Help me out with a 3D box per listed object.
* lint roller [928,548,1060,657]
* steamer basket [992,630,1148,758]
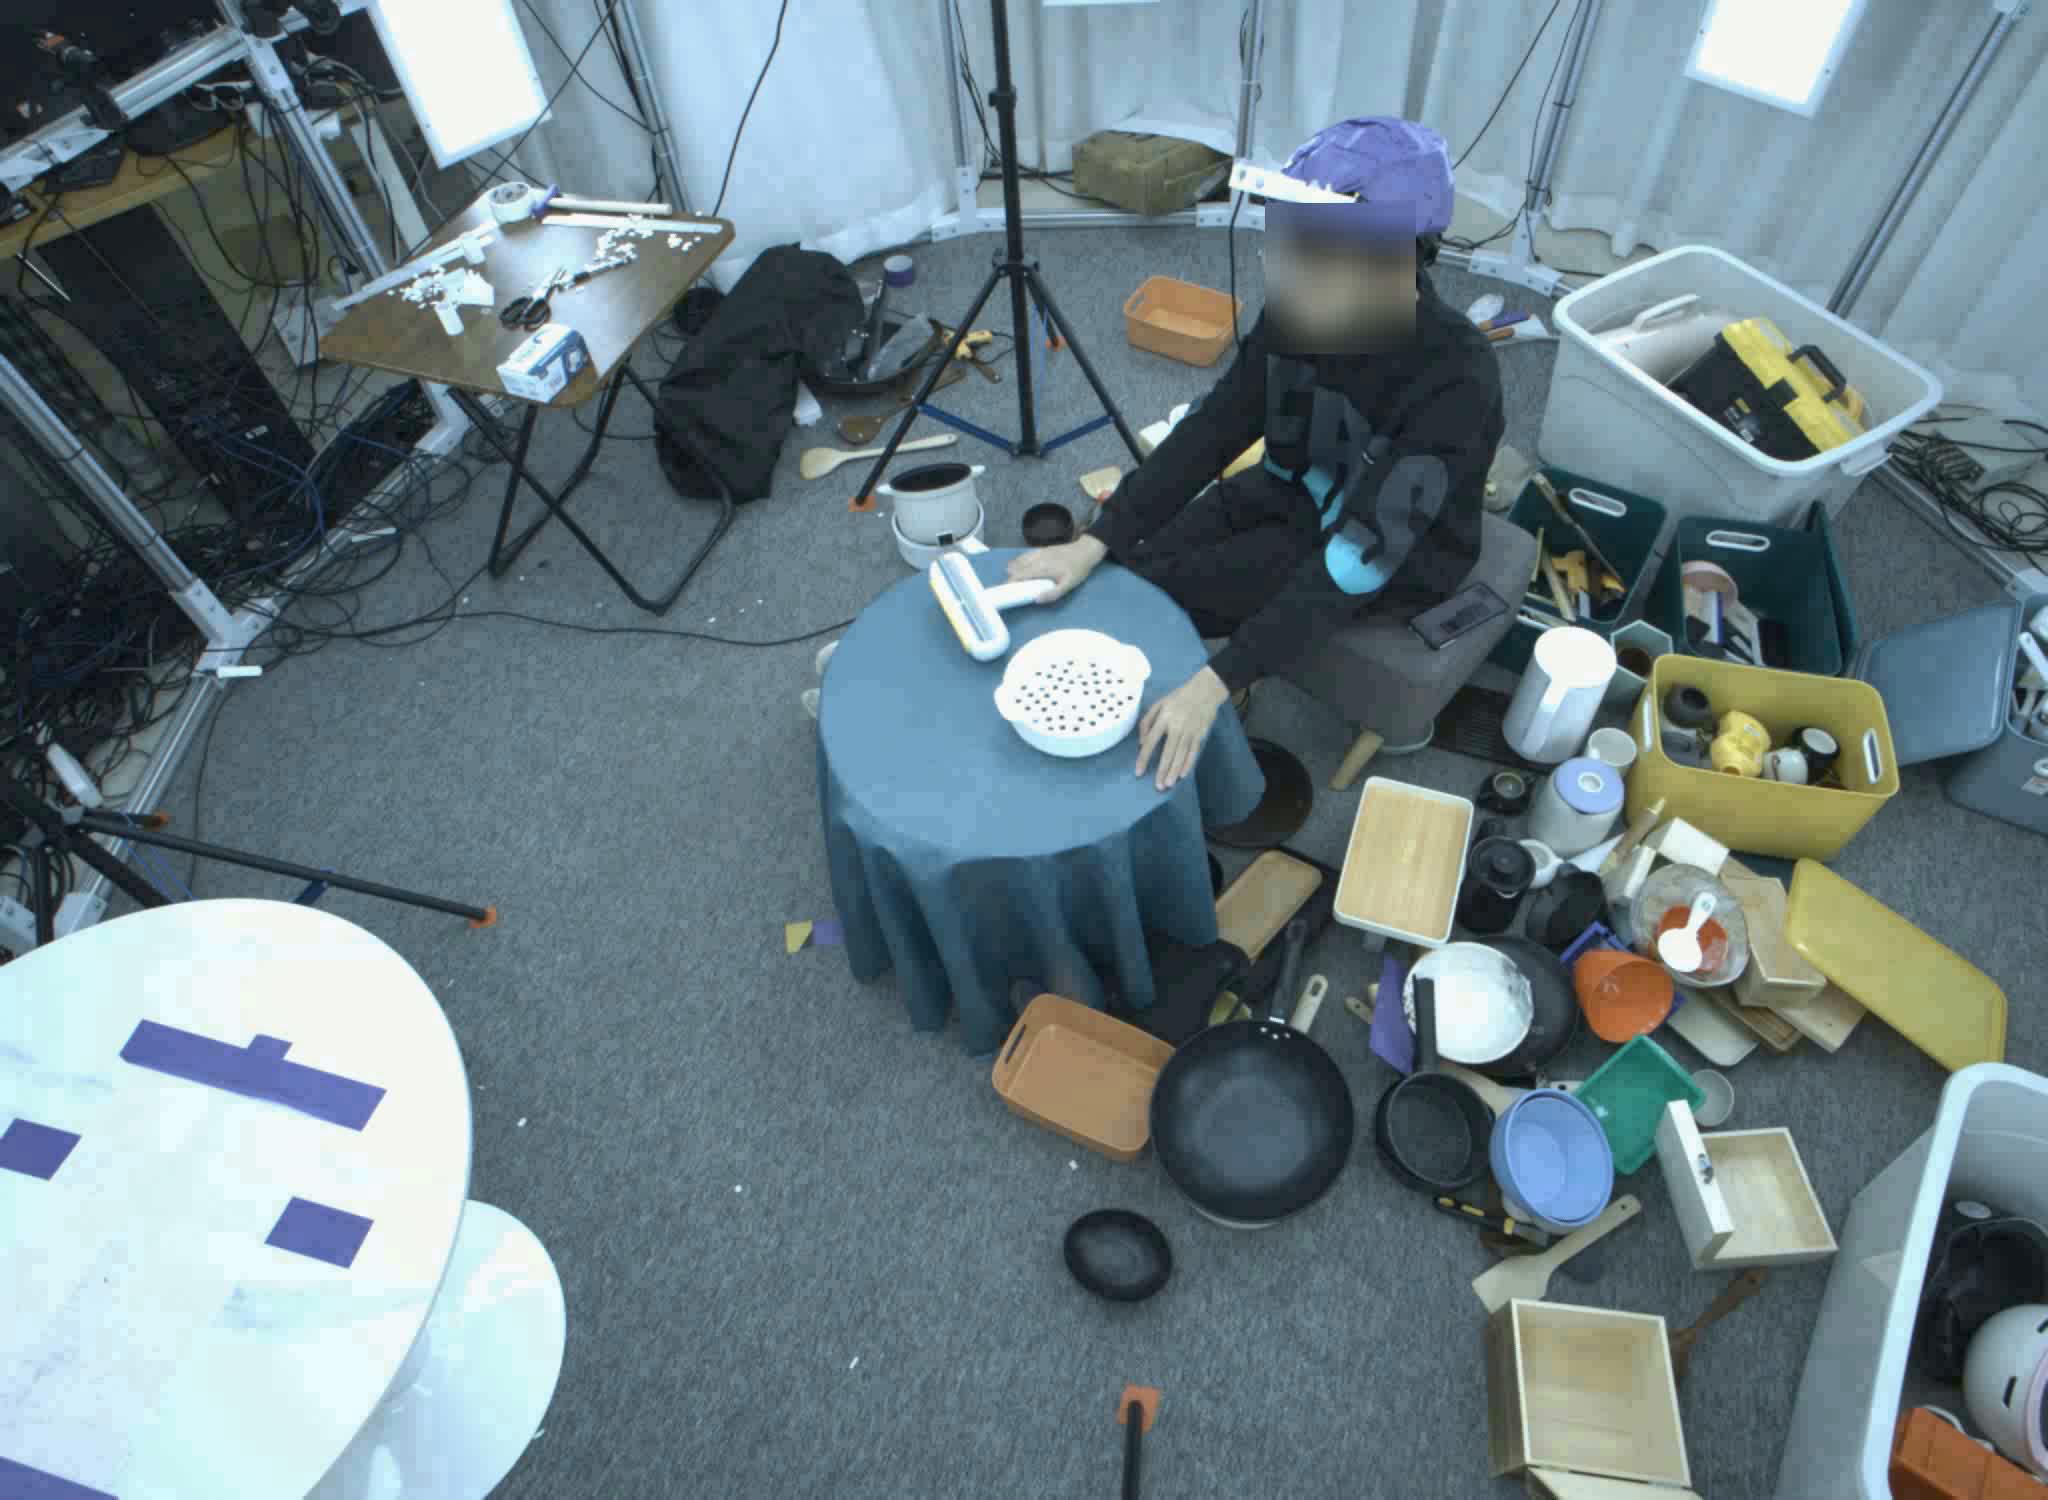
[{"bbox_3d":[-0.034,-0.242,1.915,0.194,0.075,0.190,-19,61,-13],"label":"lint roller"},{"bbox_3d":[0.067,-0.080,1.797,0.232,0.070,0.198,-17,57,-12],"label":"steamer basket"}]
